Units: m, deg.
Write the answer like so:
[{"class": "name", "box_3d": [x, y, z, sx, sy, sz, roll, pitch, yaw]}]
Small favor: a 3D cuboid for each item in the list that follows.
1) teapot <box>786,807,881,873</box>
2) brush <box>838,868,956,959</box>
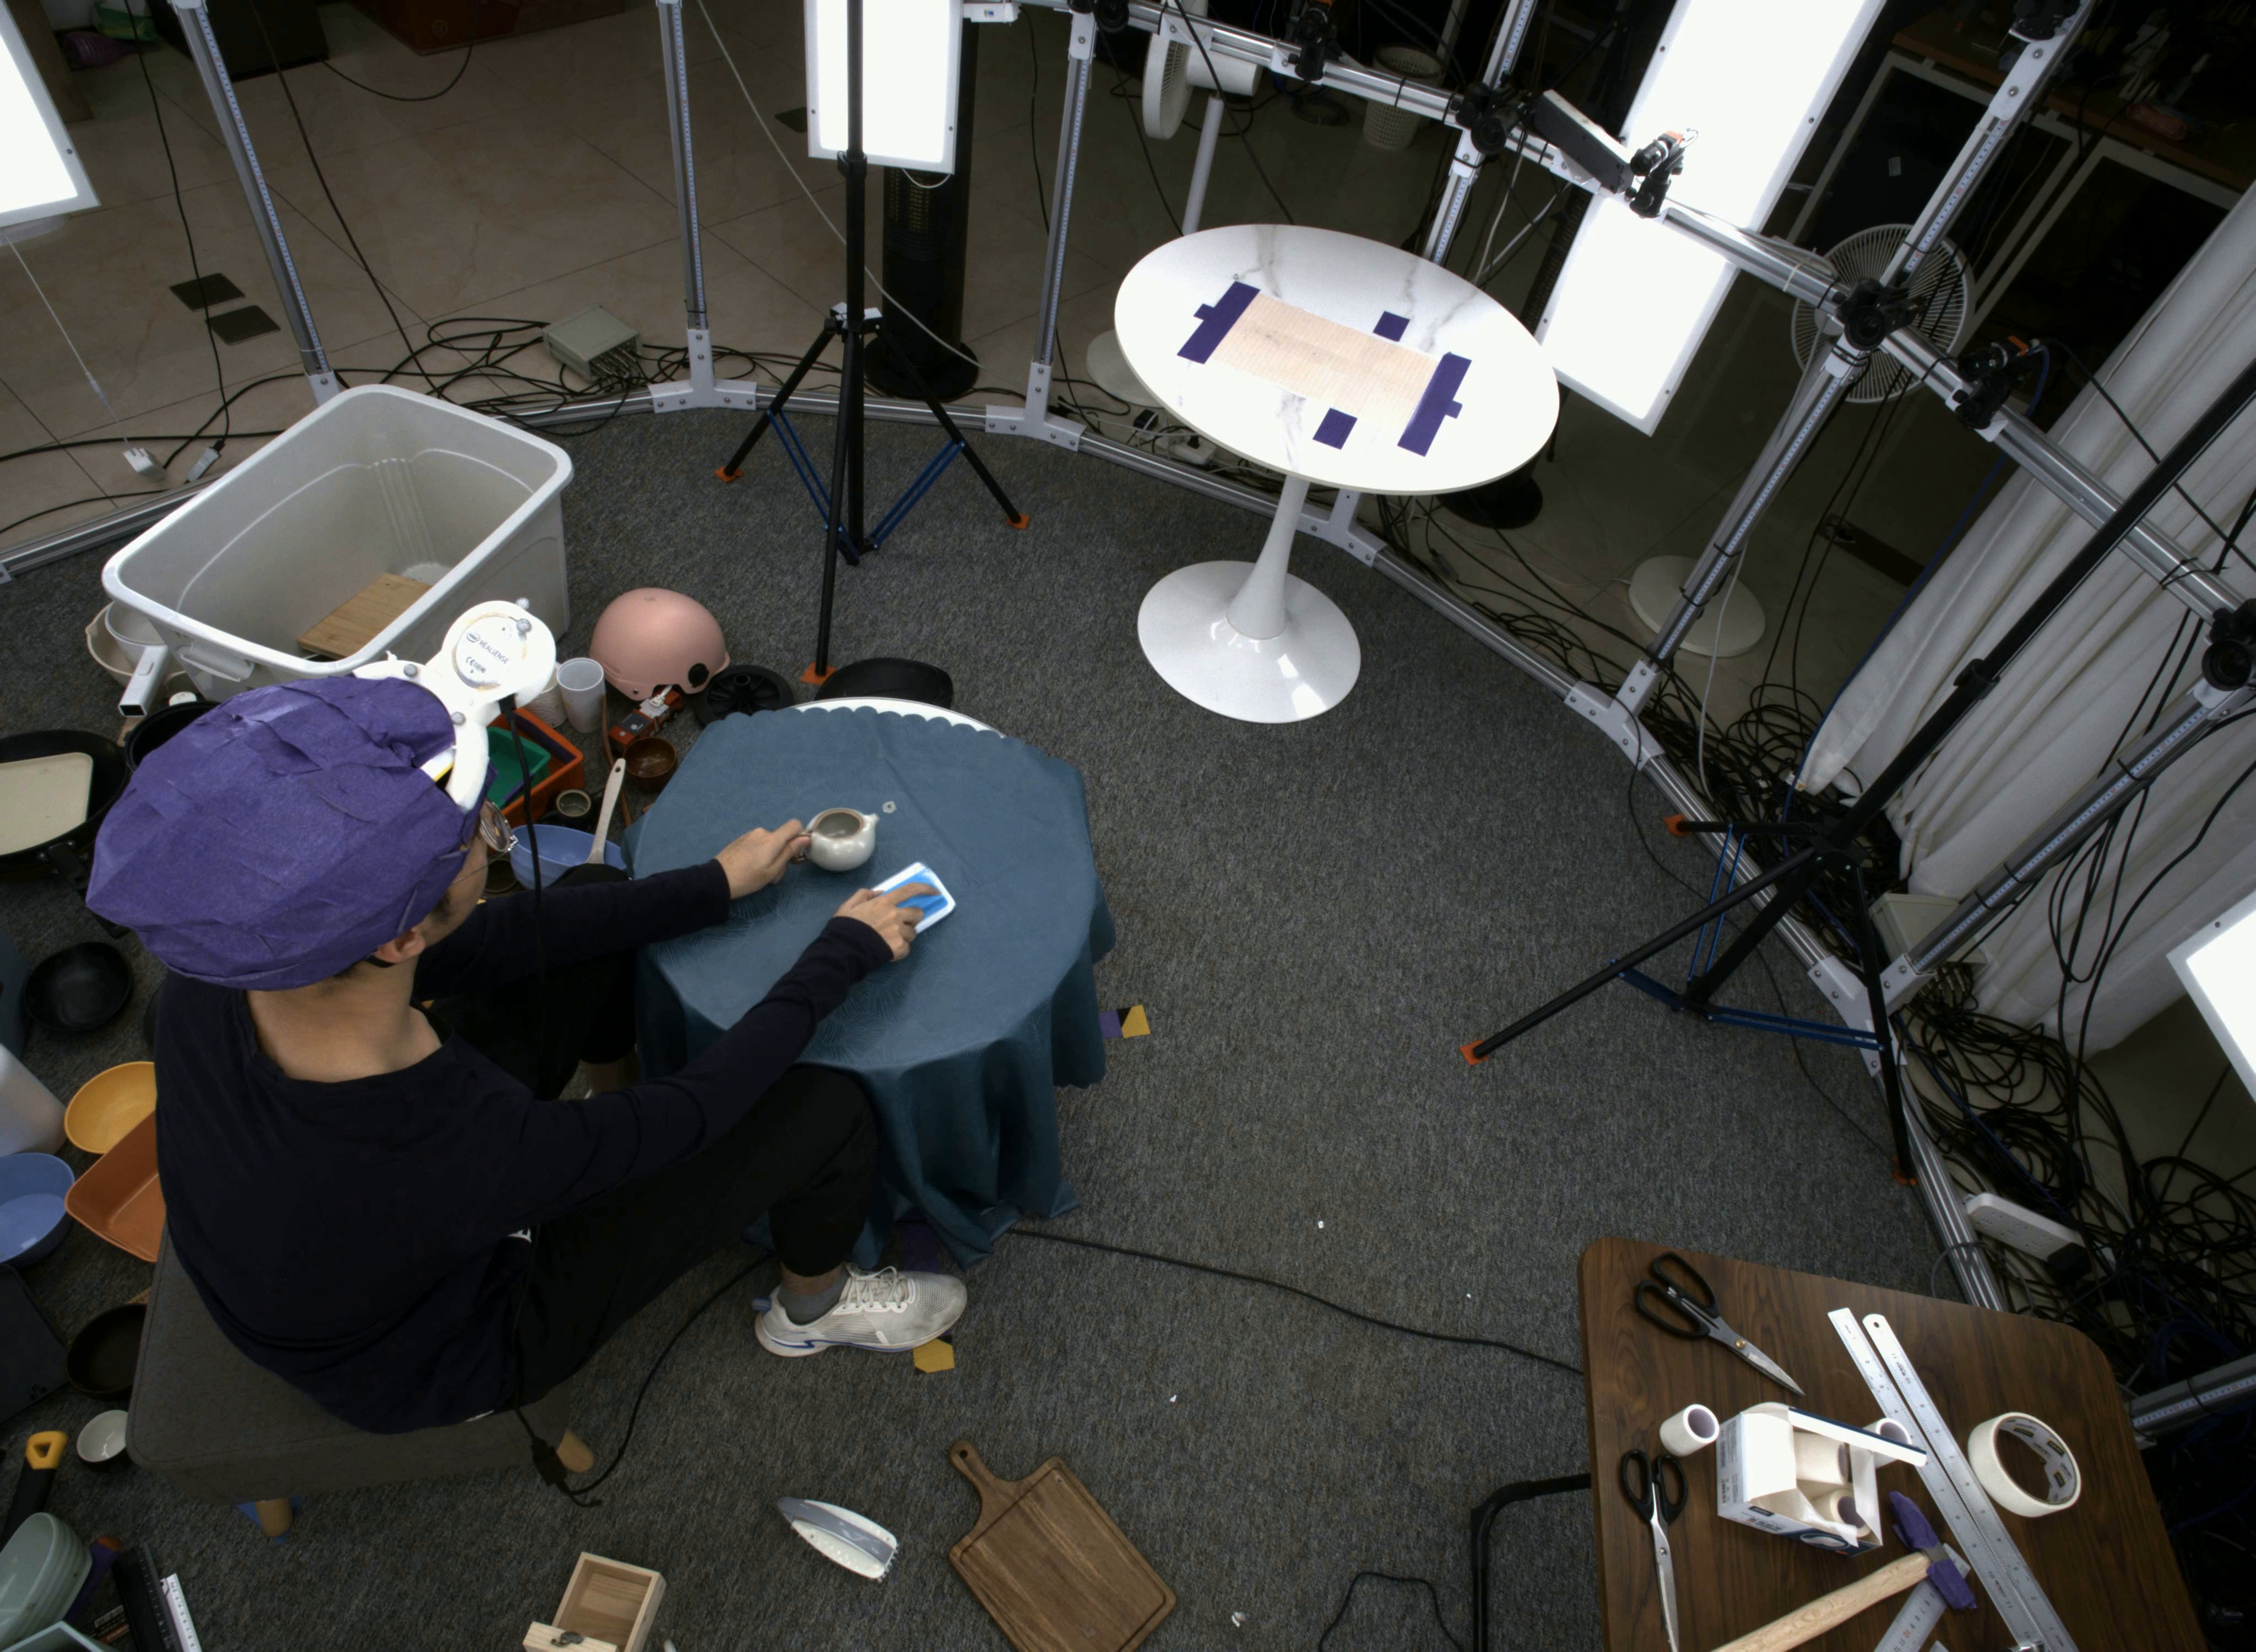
[{"class": "teapot", "box_3d": [-0.380, 0.020, 1.679, 0.129, 0.061, 0.089, -16, 54, -29]}, {"class": "brush", "box_3d": [-0.288, 0.101, 1.638, 0.145, 0.056, 0.082, -28, 71, -35]}]
